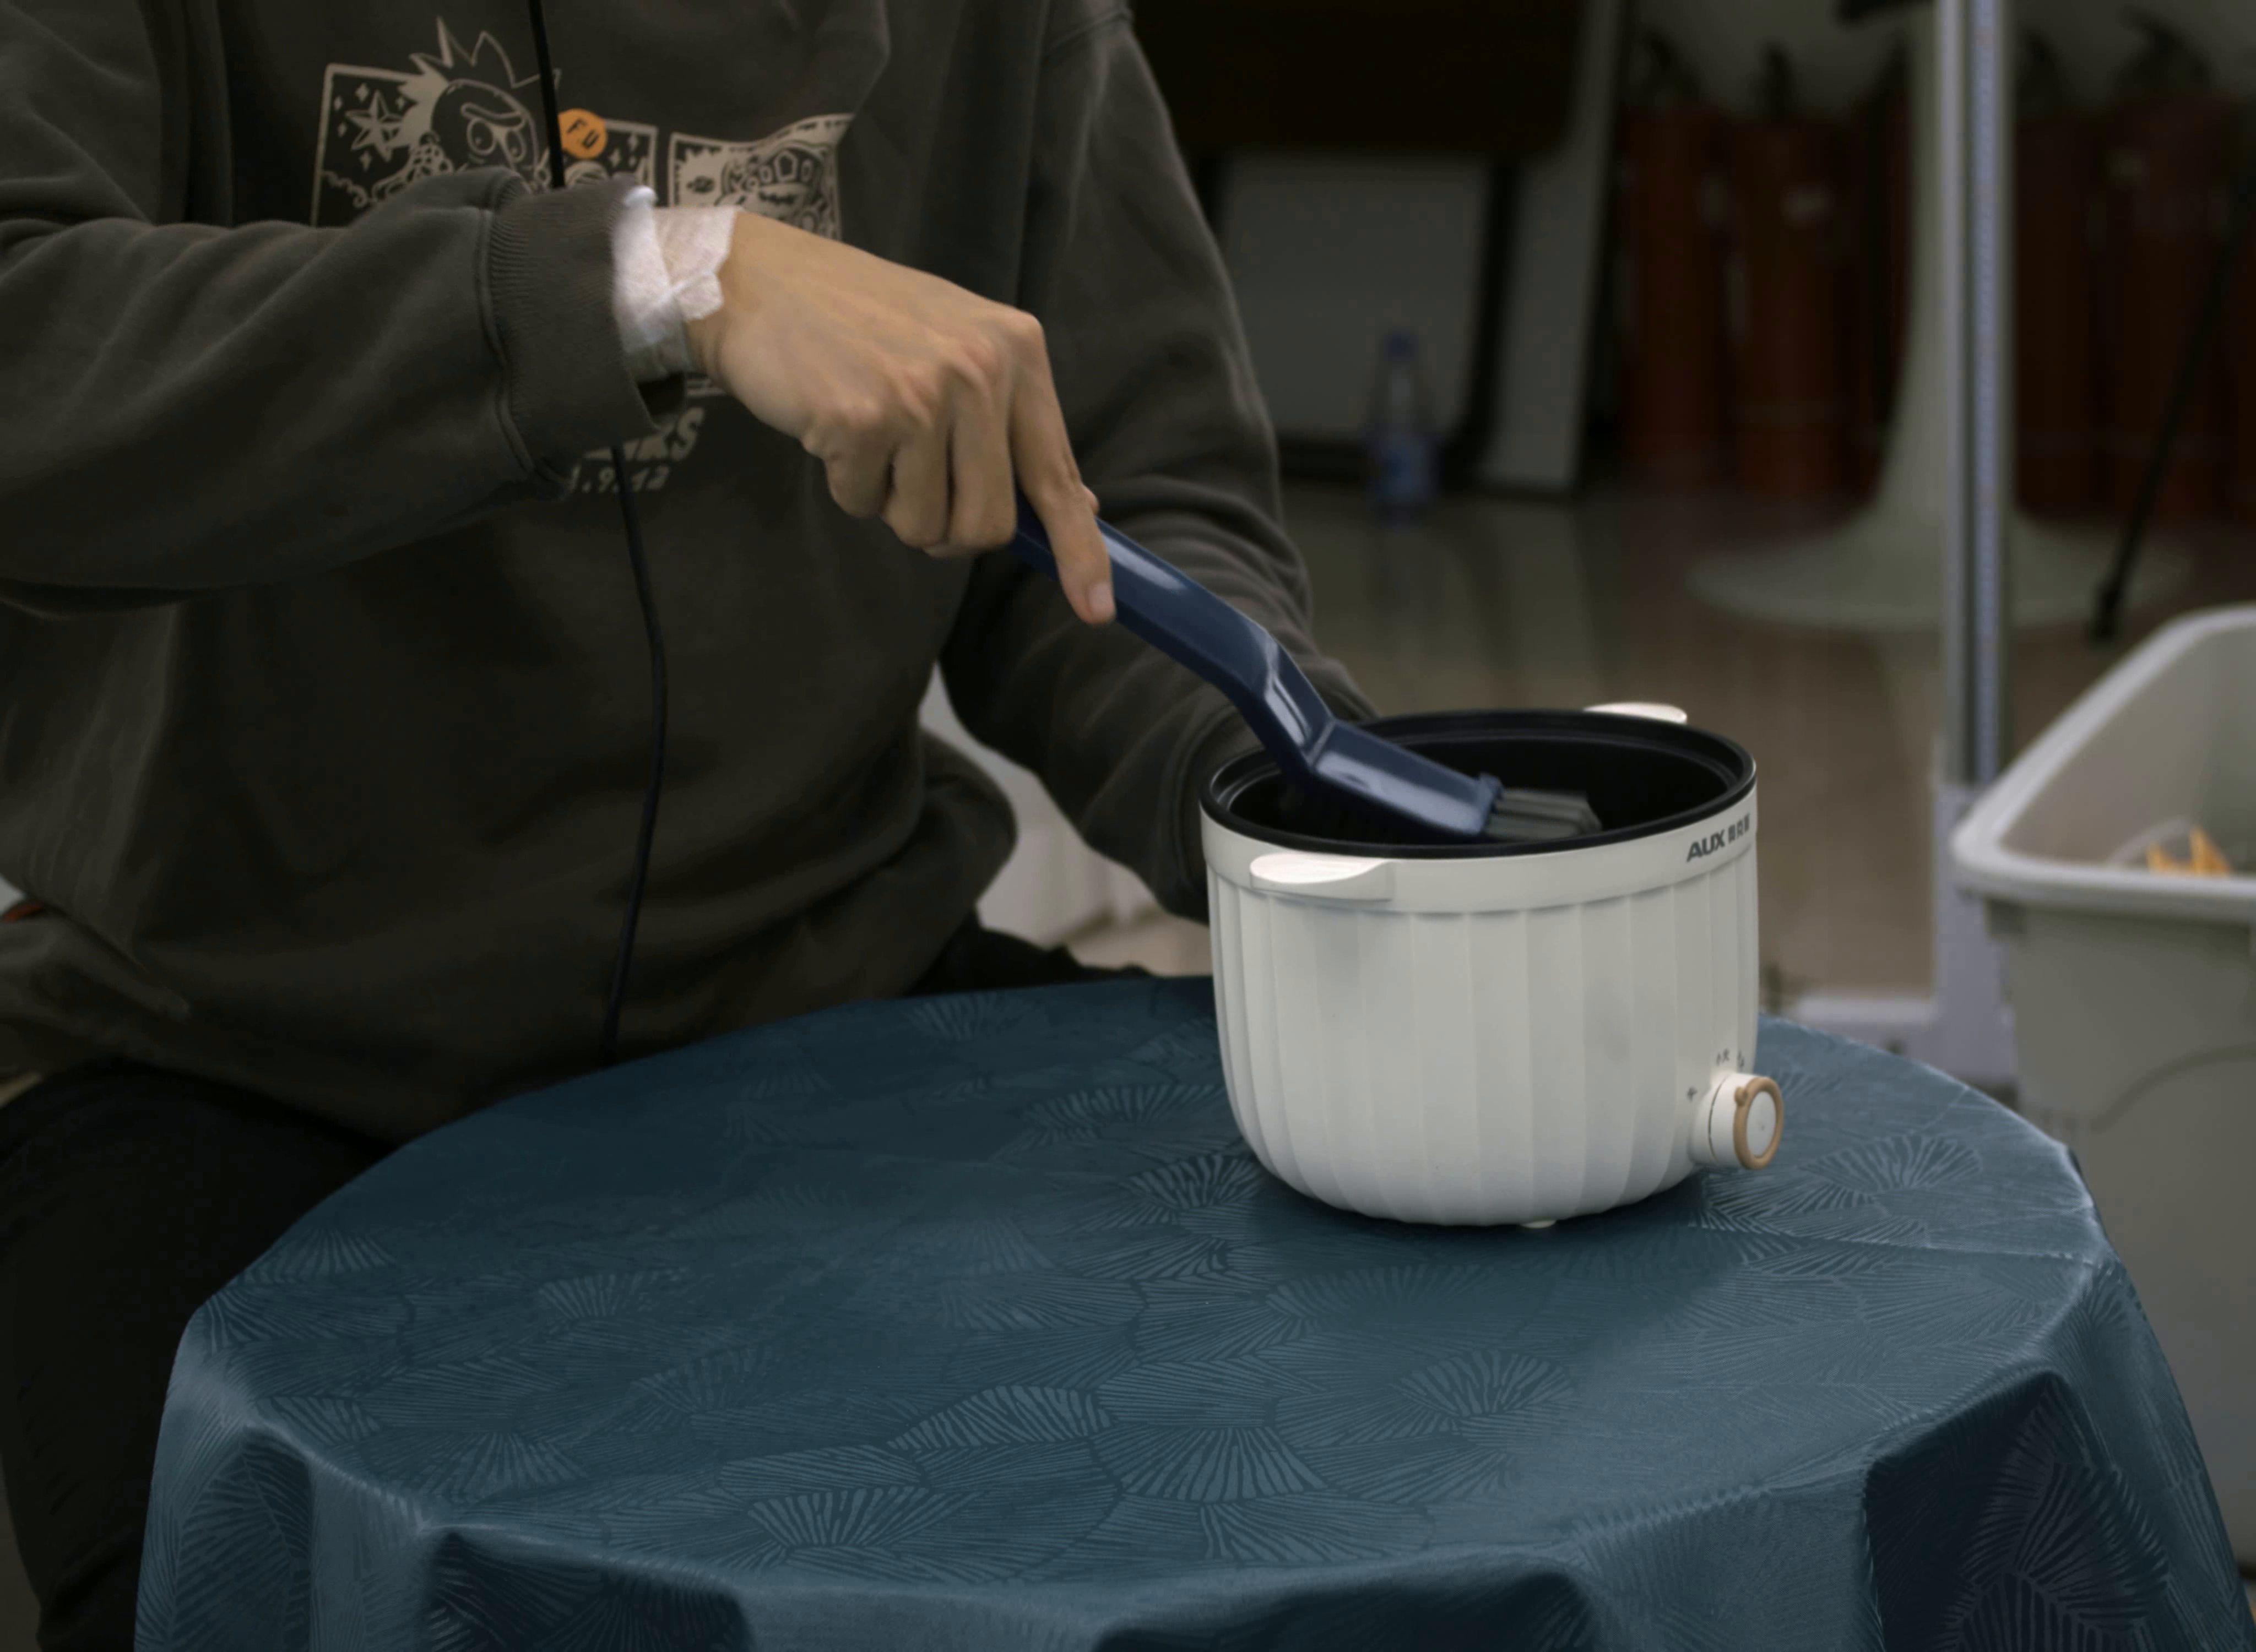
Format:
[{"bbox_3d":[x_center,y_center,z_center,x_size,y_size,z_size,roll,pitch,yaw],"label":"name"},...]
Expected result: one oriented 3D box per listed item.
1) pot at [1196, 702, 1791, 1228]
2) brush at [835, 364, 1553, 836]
[{"bbox_3d":[0.122,0.048,1.747,0.191,0.144,0.236,1,15,35],"label":"pot"},{"bbox_3d":[0.028,-0.062,1.737,0.096,0.271,0.033,-31,24,53],"label":"brush"}]
